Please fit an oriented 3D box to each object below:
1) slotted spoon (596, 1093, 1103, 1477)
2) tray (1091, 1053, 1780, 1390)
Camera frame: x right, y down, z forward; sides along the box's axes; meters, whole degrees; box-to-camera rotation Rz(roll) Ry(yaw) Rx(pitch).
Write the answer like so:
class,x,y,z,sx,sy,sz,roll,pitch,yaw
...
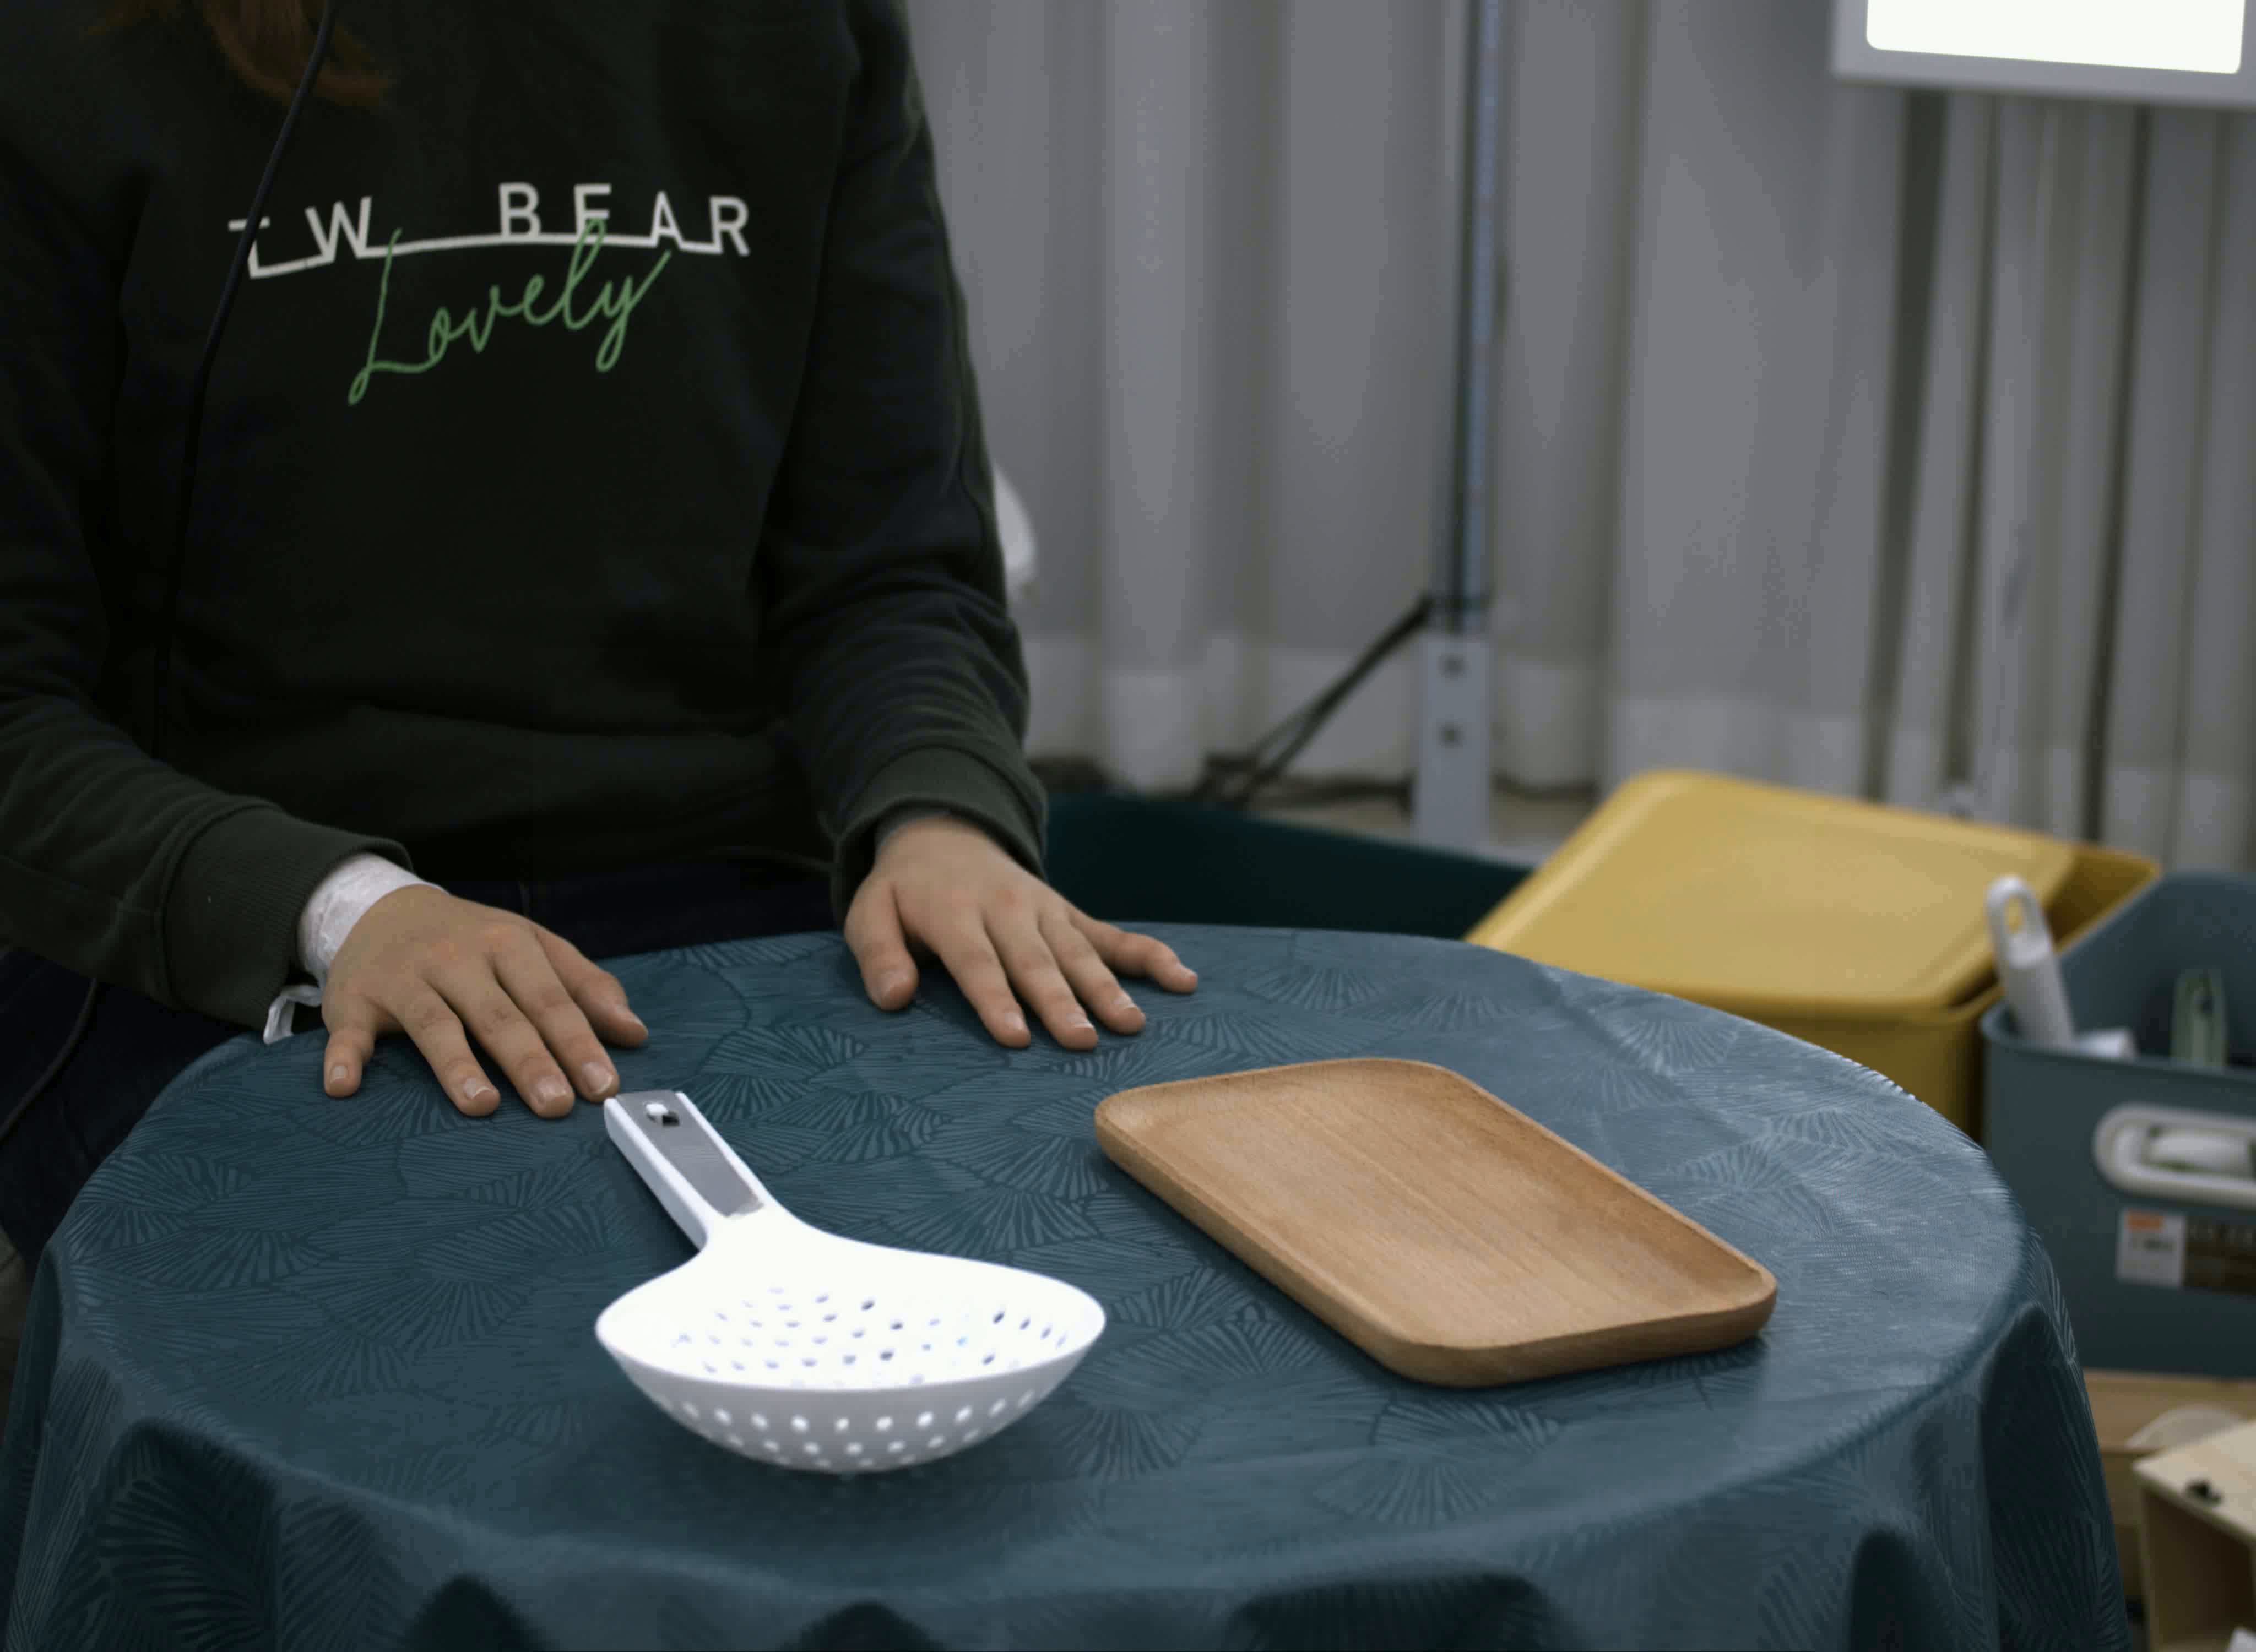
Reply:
class,x,y,z,sx,sy,sz,roll,pitch,yaw
slotted spoon,-0.105,0.122,1.507,0.136,0.046,0.346,-2,15,-16
tray,0.088,0.116,1.587,0.131,0.023,0.248,-4,16,-23
